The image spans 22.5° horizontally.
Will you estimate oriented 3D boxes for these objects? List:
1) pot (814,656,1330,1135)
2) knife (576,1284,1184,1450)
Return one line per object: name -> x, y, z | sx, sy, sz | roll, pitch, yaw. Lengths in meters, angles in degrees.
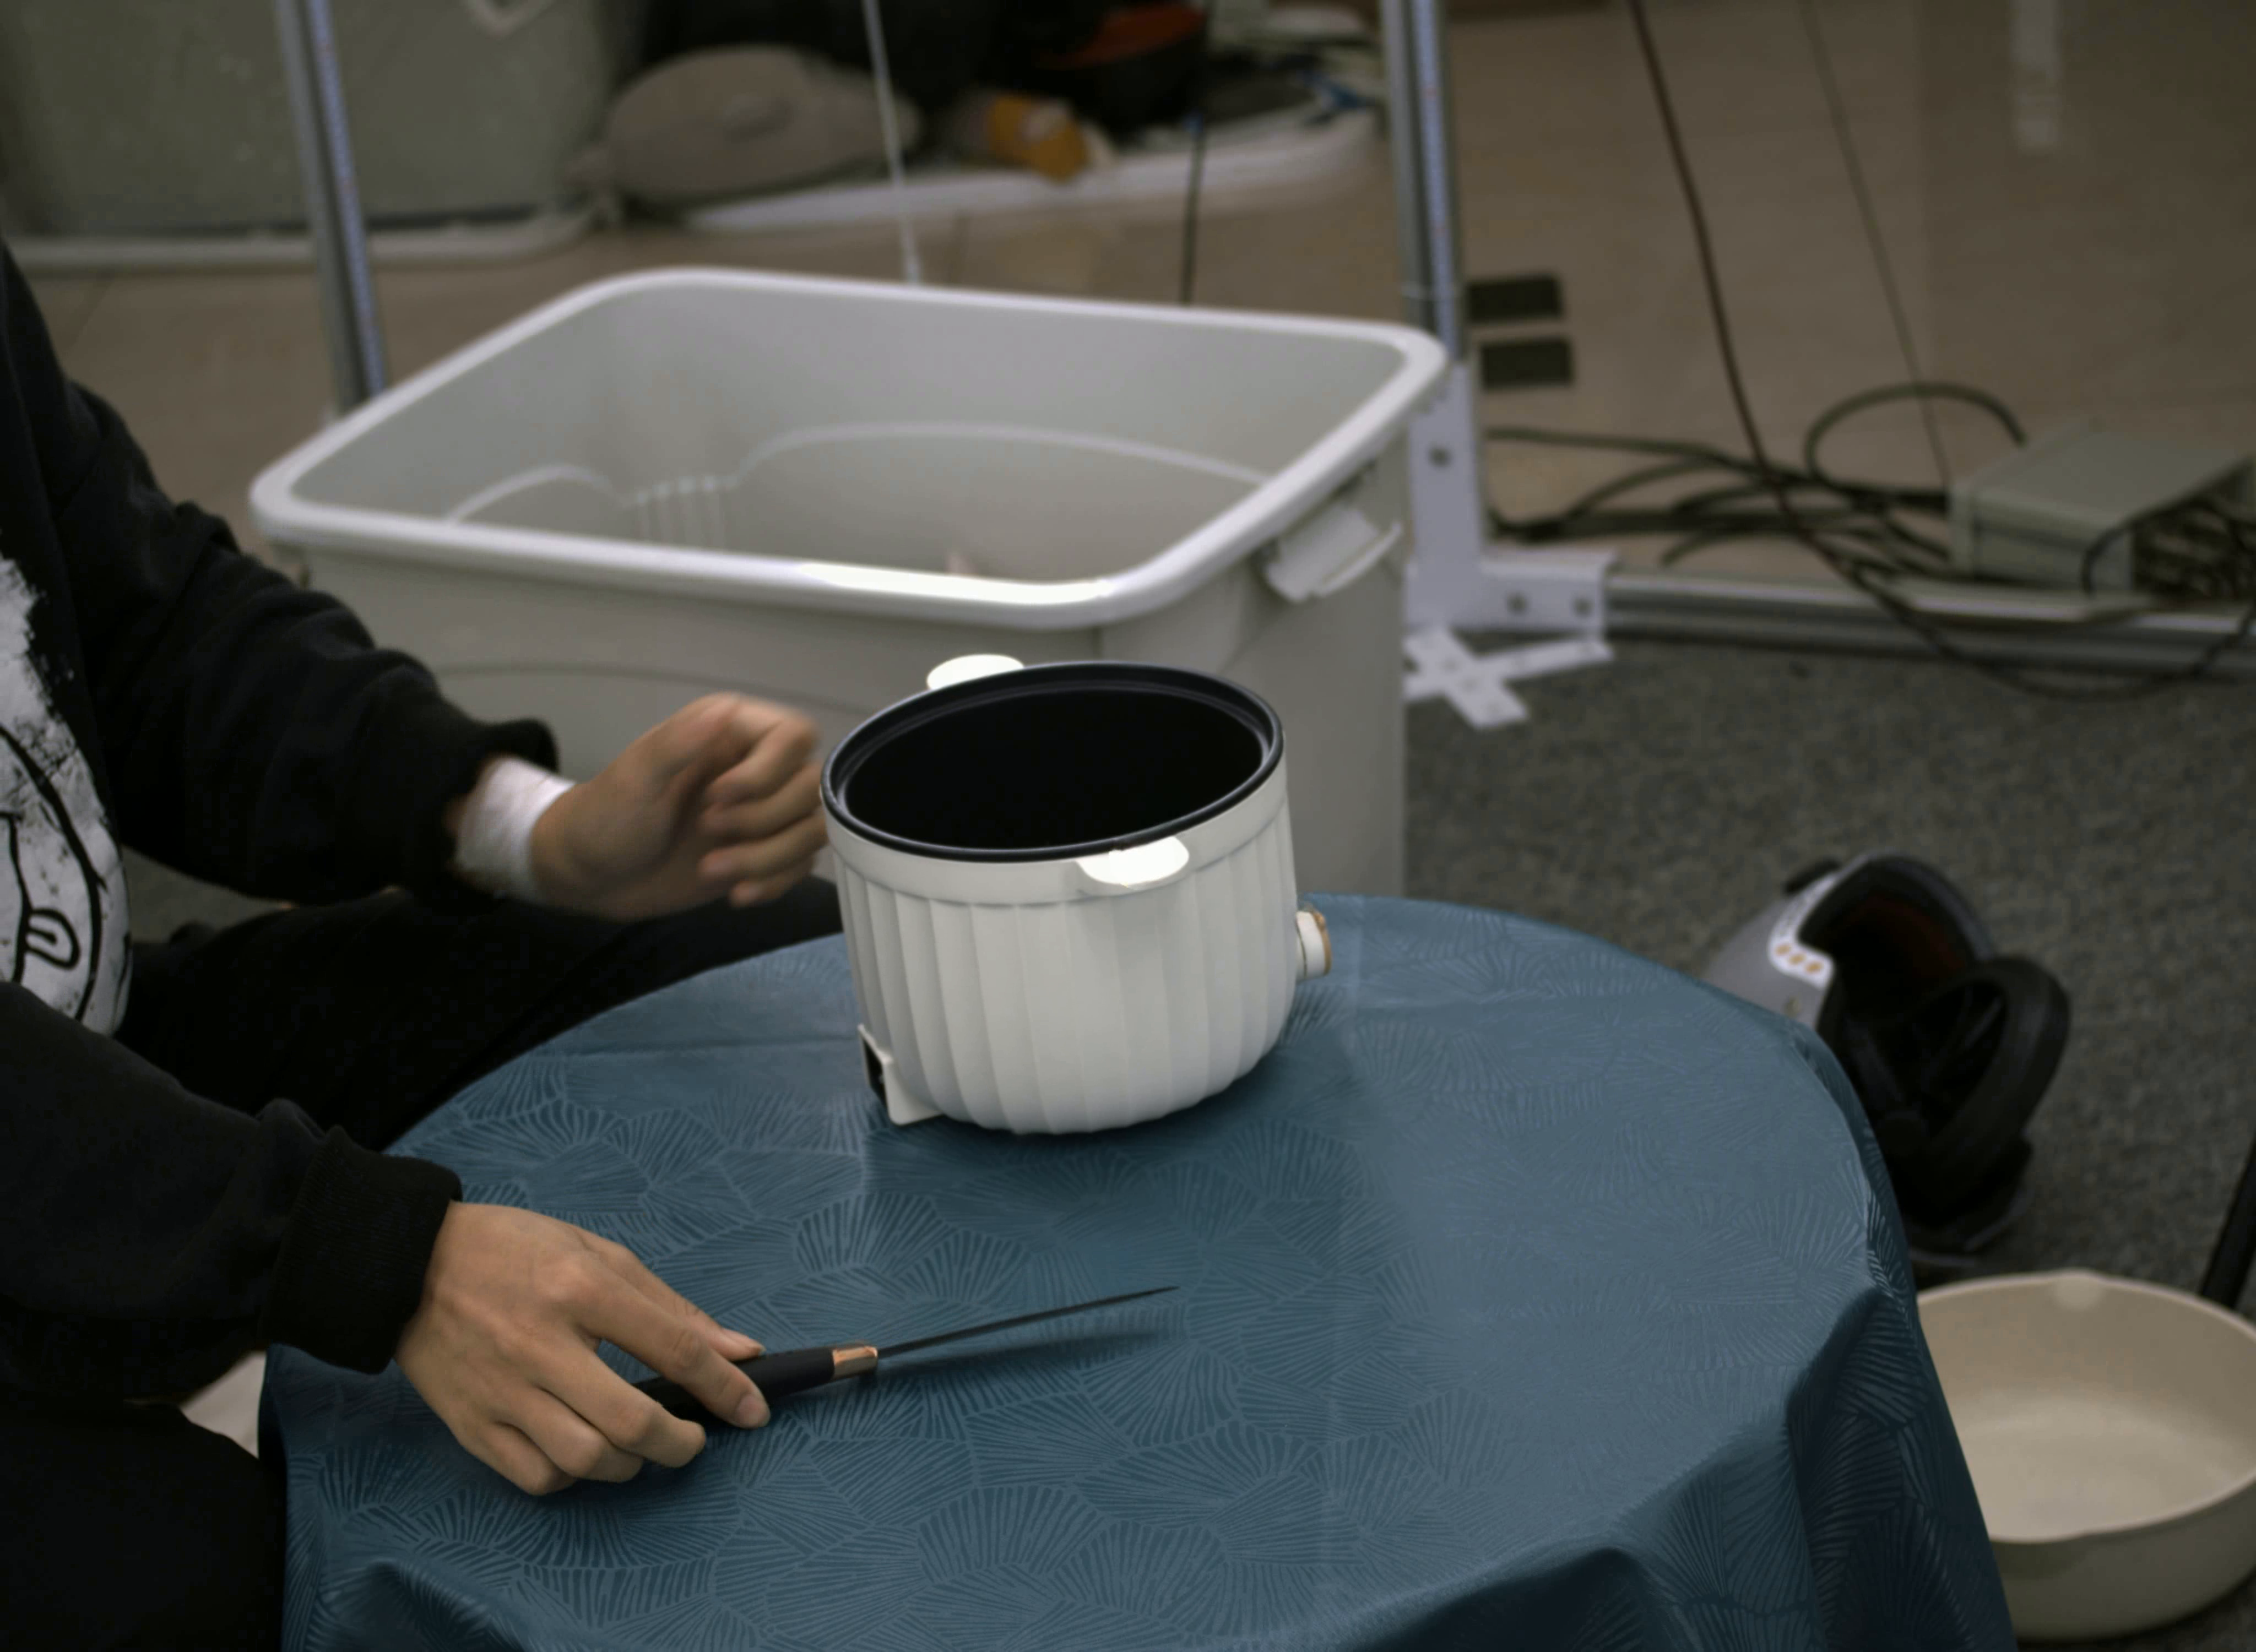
pot -> -0.019, 0.030, 2.221 | 0.190, 0.145, 0.237 | -17, 28, -14
knife -> -0.088, 0.191, 2.041 | 0.225, 0.026, 0.017 | -13, 68, -8
